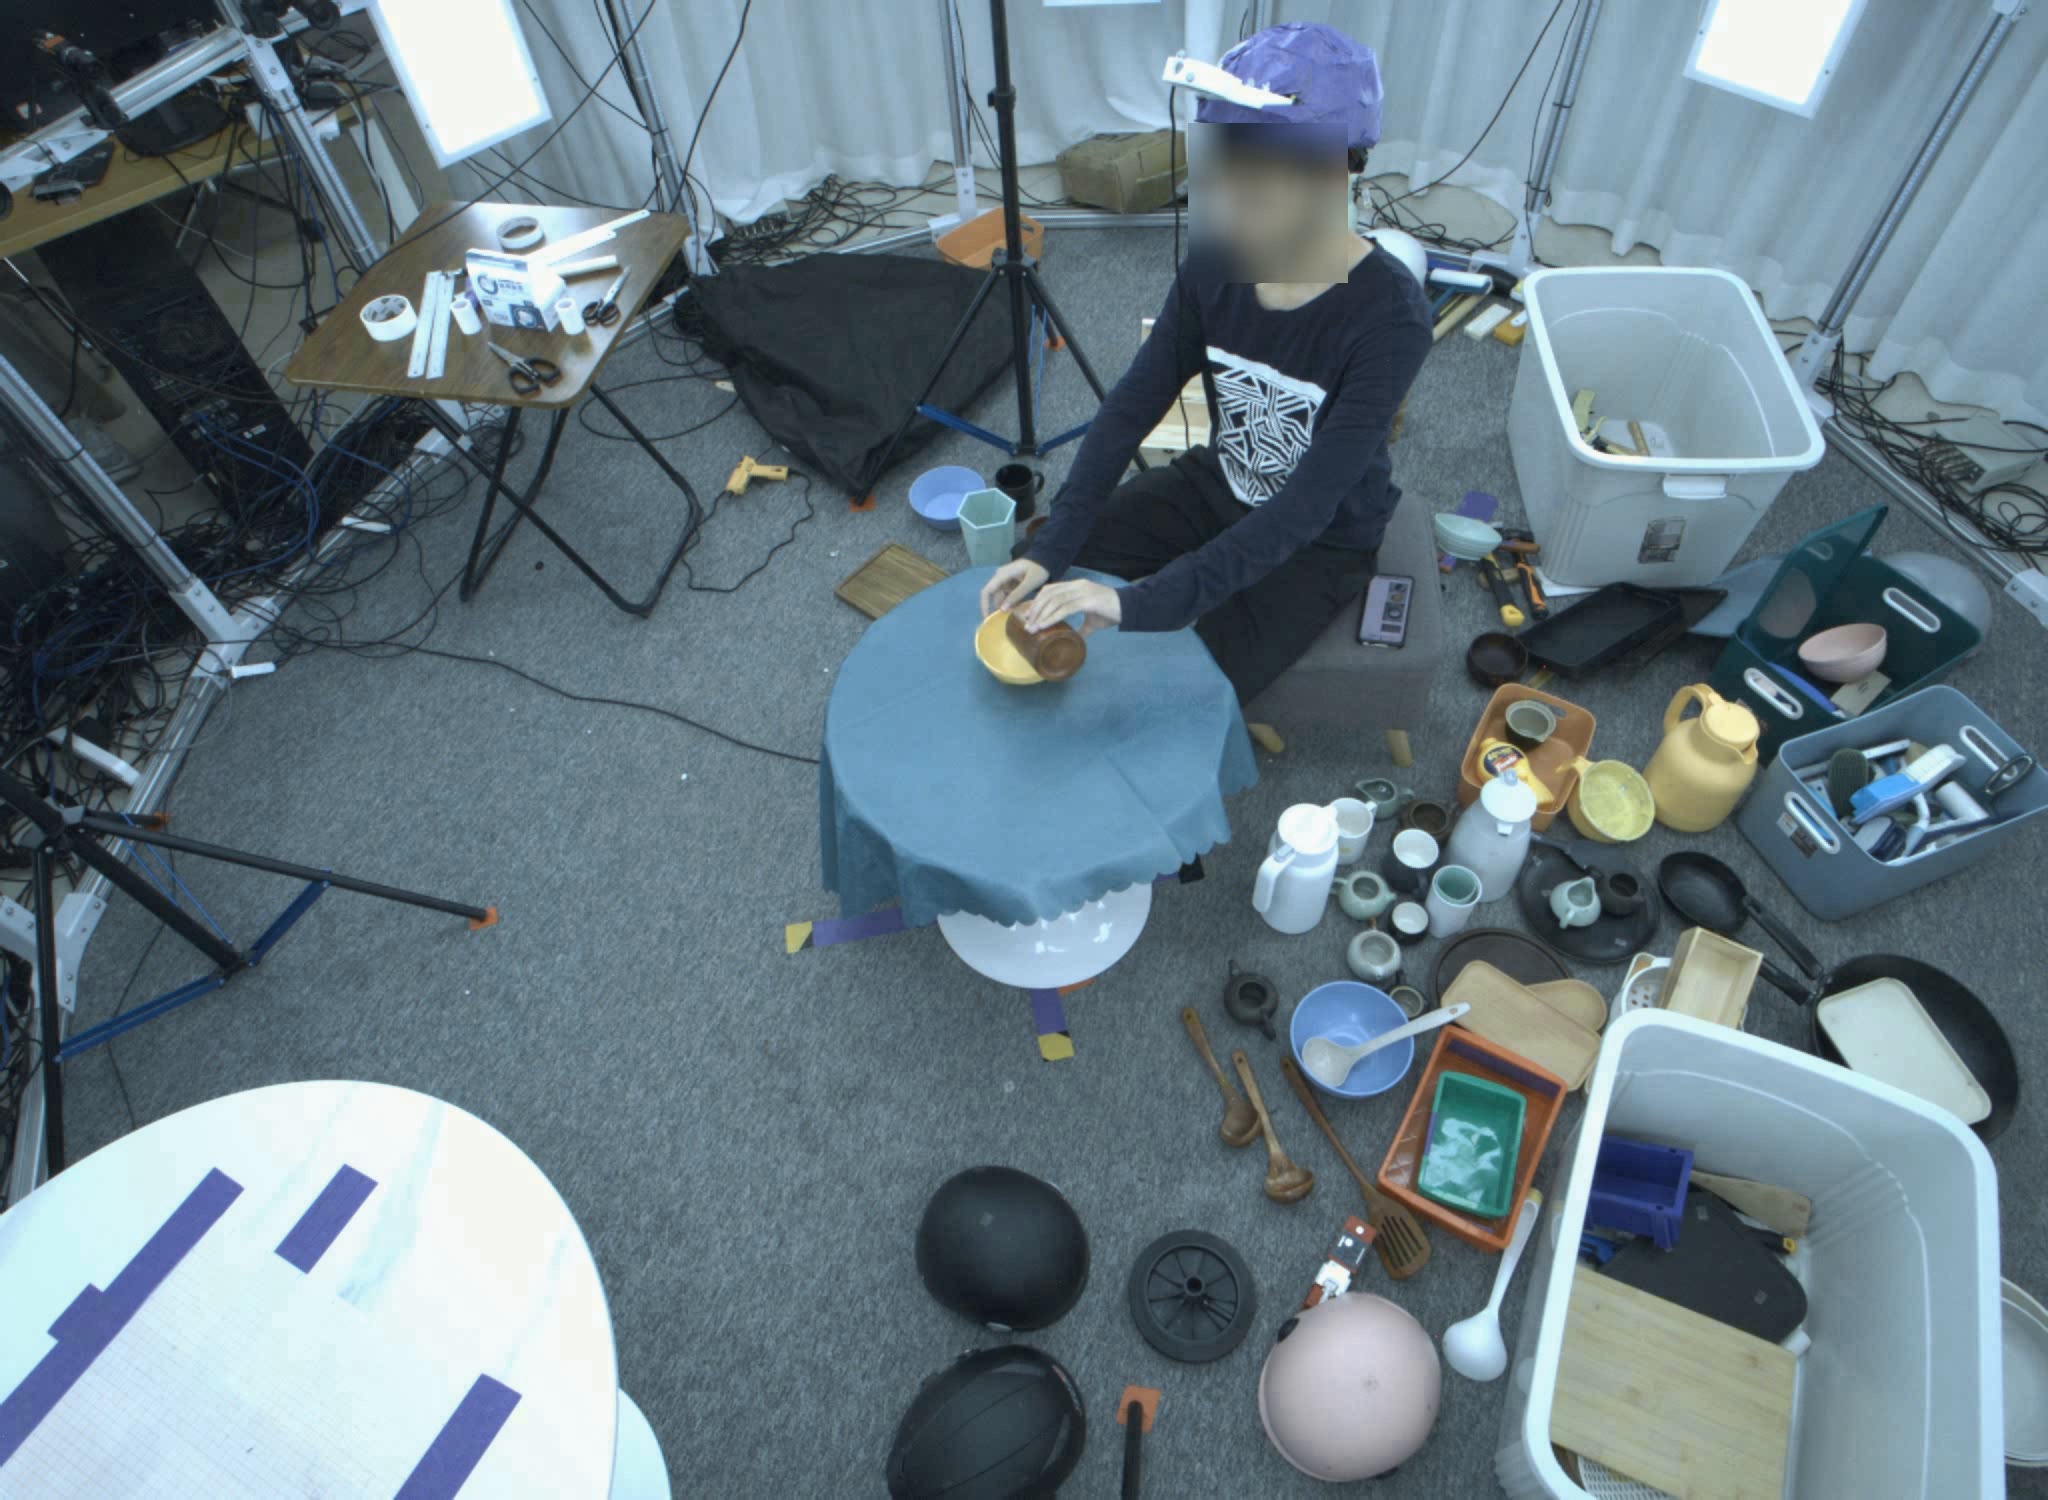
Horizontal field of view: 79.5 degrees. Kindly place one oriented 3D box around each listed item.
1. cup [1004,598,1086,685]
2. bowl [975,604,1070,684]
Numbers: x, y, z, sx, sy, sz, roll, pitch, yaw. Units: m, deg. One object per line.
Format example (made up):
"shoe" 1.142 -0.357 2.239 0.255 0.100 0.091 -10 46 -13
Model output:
"cup" 0.029 -0.154 1.748 0.088 0.089 0.116 -22 40 -12
"bowl" 0.000 -0.149 1.850 0.145 0.061 0.144 0 55 1
